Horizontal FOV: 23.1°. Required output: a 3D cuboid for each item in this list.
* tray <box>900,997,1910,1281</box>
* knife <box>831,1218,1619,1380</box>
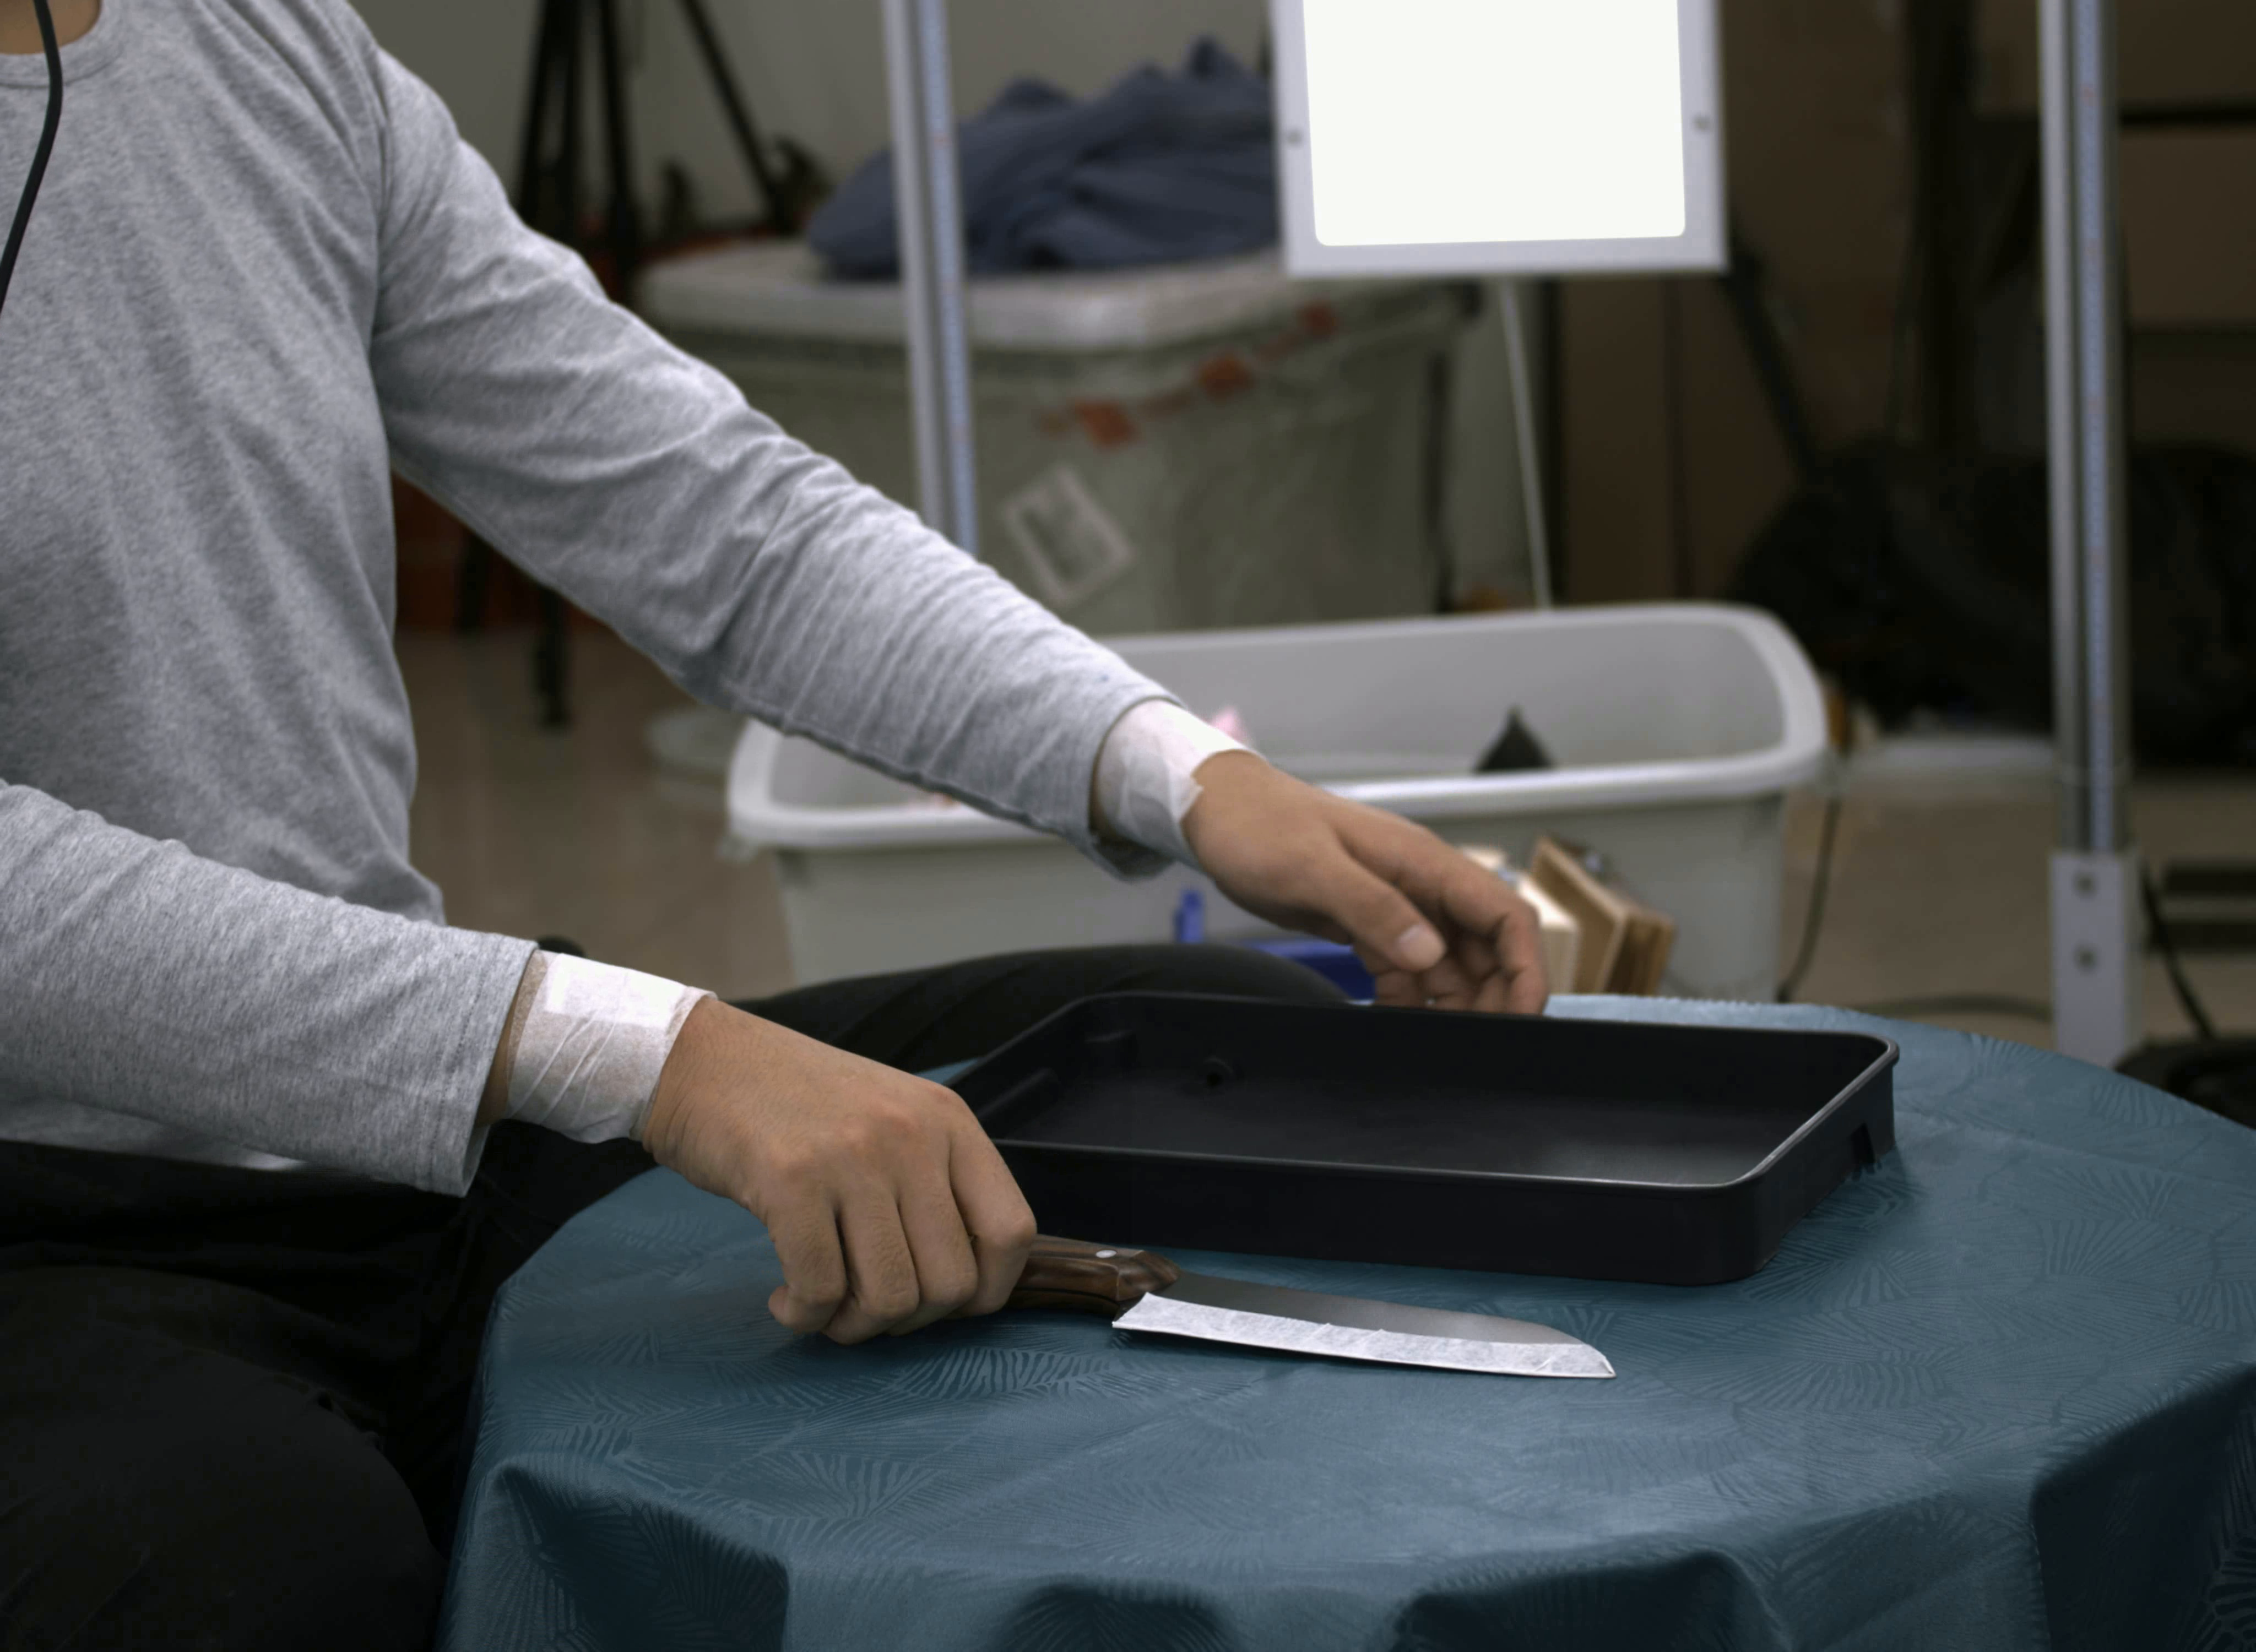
[{"bbox_3d":[0.097,0.104,1.885,0.323,0.037,0.180,1,15,26],"label":"tray"},{"bbox_3d":[0.026,0.153,1.755,0.294,0.020,0.049,6,23,31],"label":"knife"}]
